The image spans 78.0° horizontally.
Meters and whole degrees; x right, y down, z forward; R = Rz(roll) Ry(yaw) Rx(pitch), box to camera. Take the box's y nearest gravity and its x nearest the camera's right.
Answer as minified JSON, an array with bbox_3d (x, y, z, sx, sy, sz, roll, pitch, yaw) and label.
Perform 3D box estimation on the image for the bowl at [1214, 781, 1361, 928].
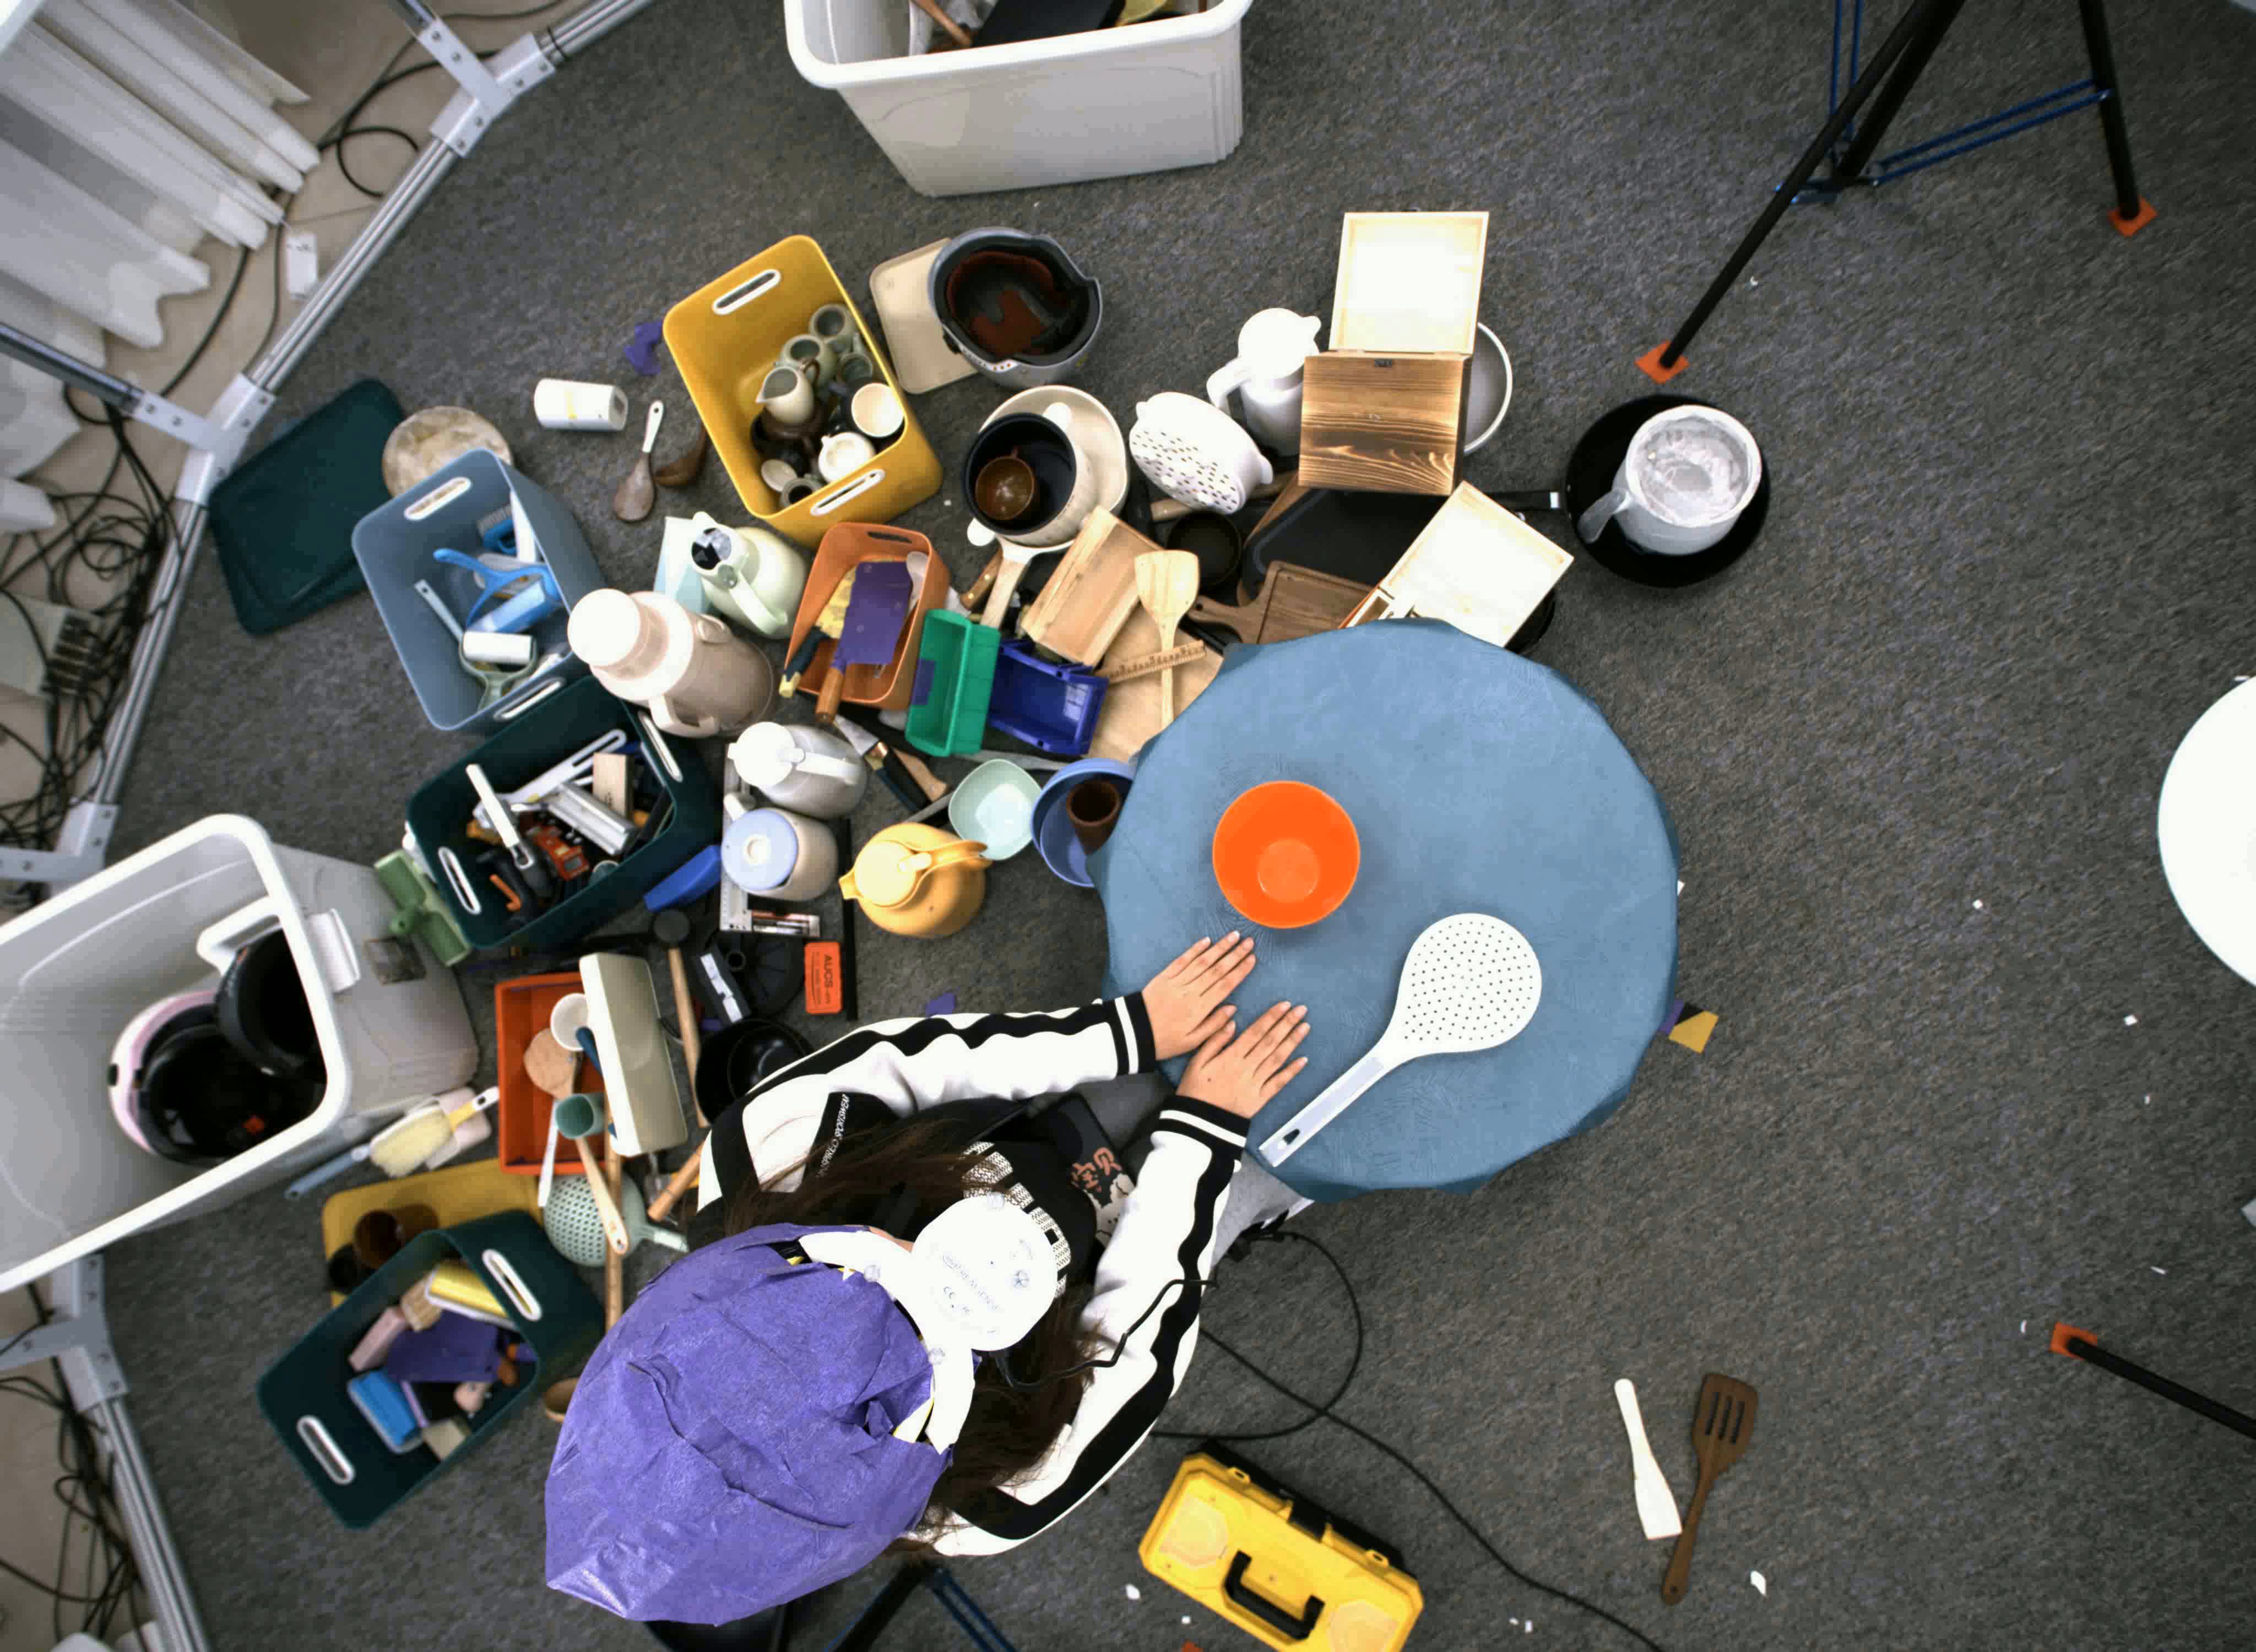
[{"bbox_3d":[0.165,0.032,1.431,0.148,0.104,0.147,-1,87,9],"label":"bowl"}]

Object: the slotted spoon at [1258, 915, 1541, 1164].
[{"bbox_3d":[0.273,0.230,1.428,0.351,0.046,0.135,-42,79,6],"label":"slotted spoon"}]
